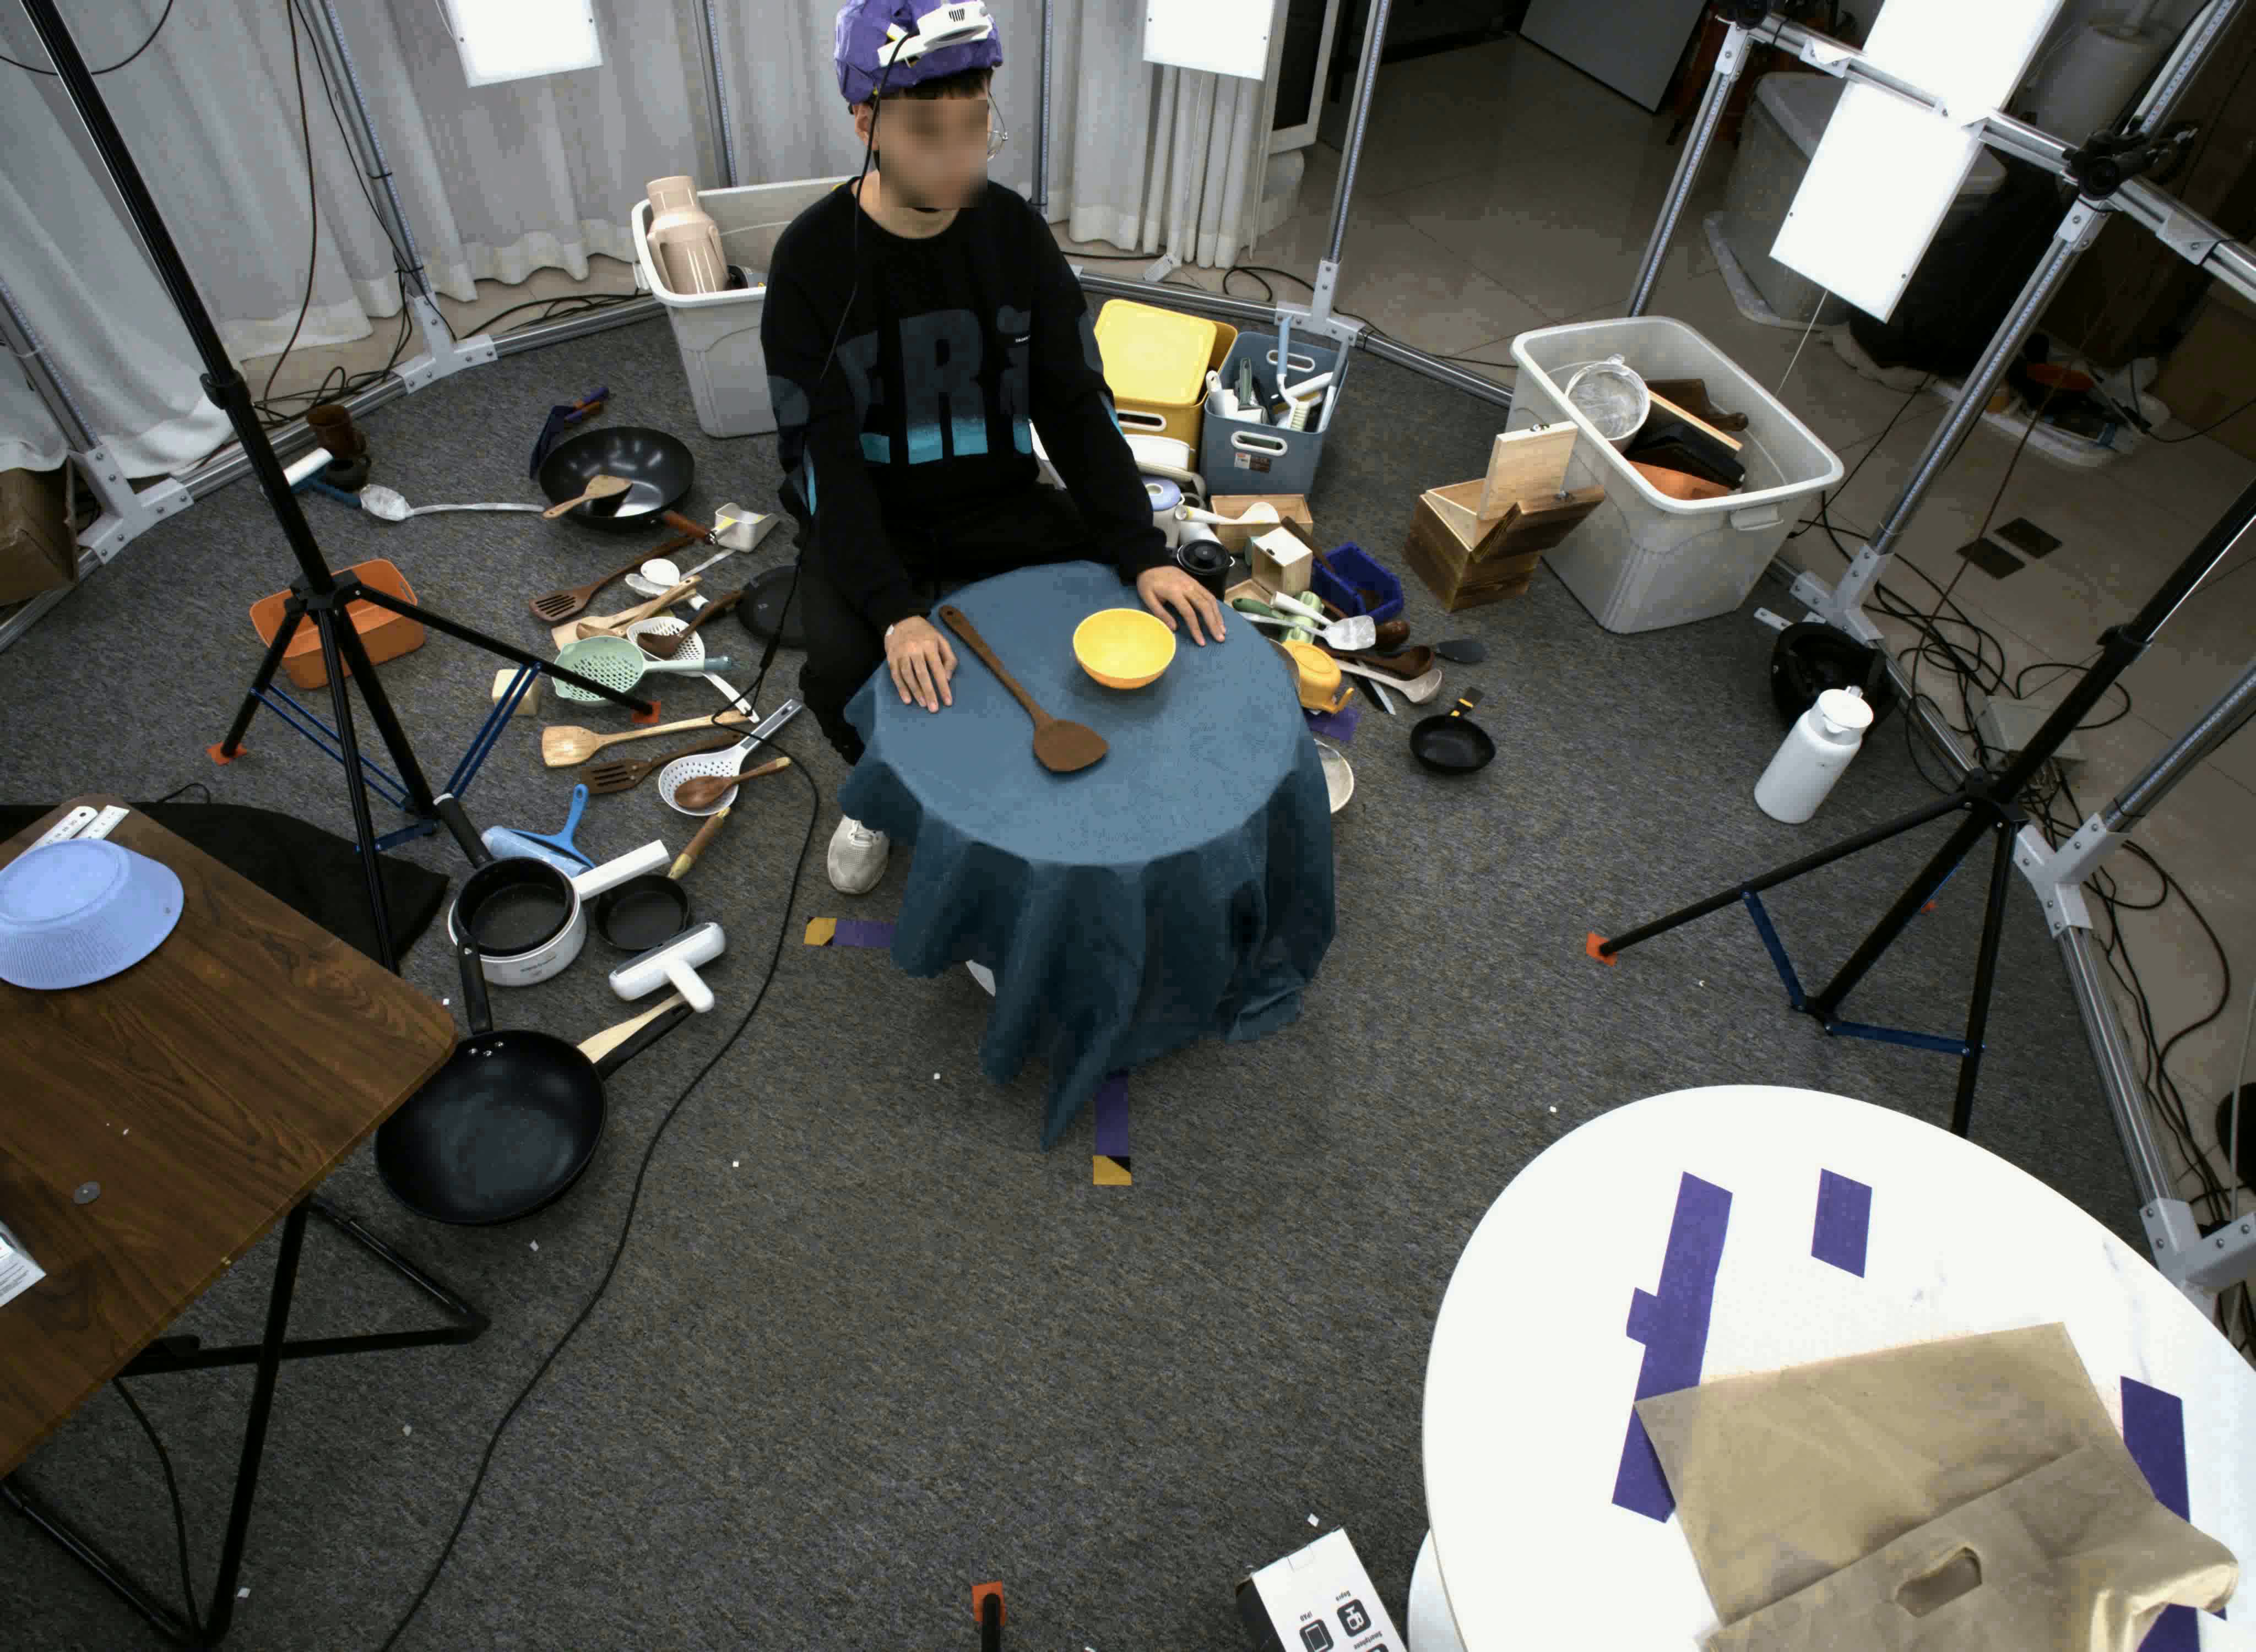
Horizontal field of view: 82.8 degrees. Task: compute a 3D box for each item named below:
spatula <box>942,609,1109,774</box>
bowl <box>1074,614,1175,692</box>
[{"bbox_3d":[-0.165,-0.203,1.842,0.096,0.015,0.393,-25,55,-24],"label":"spatula"},{"bbox_3d":[-0.007,-0.239,1.857,0.145,0.058,0.149,3,47,-4],"label":"bowl"}]
